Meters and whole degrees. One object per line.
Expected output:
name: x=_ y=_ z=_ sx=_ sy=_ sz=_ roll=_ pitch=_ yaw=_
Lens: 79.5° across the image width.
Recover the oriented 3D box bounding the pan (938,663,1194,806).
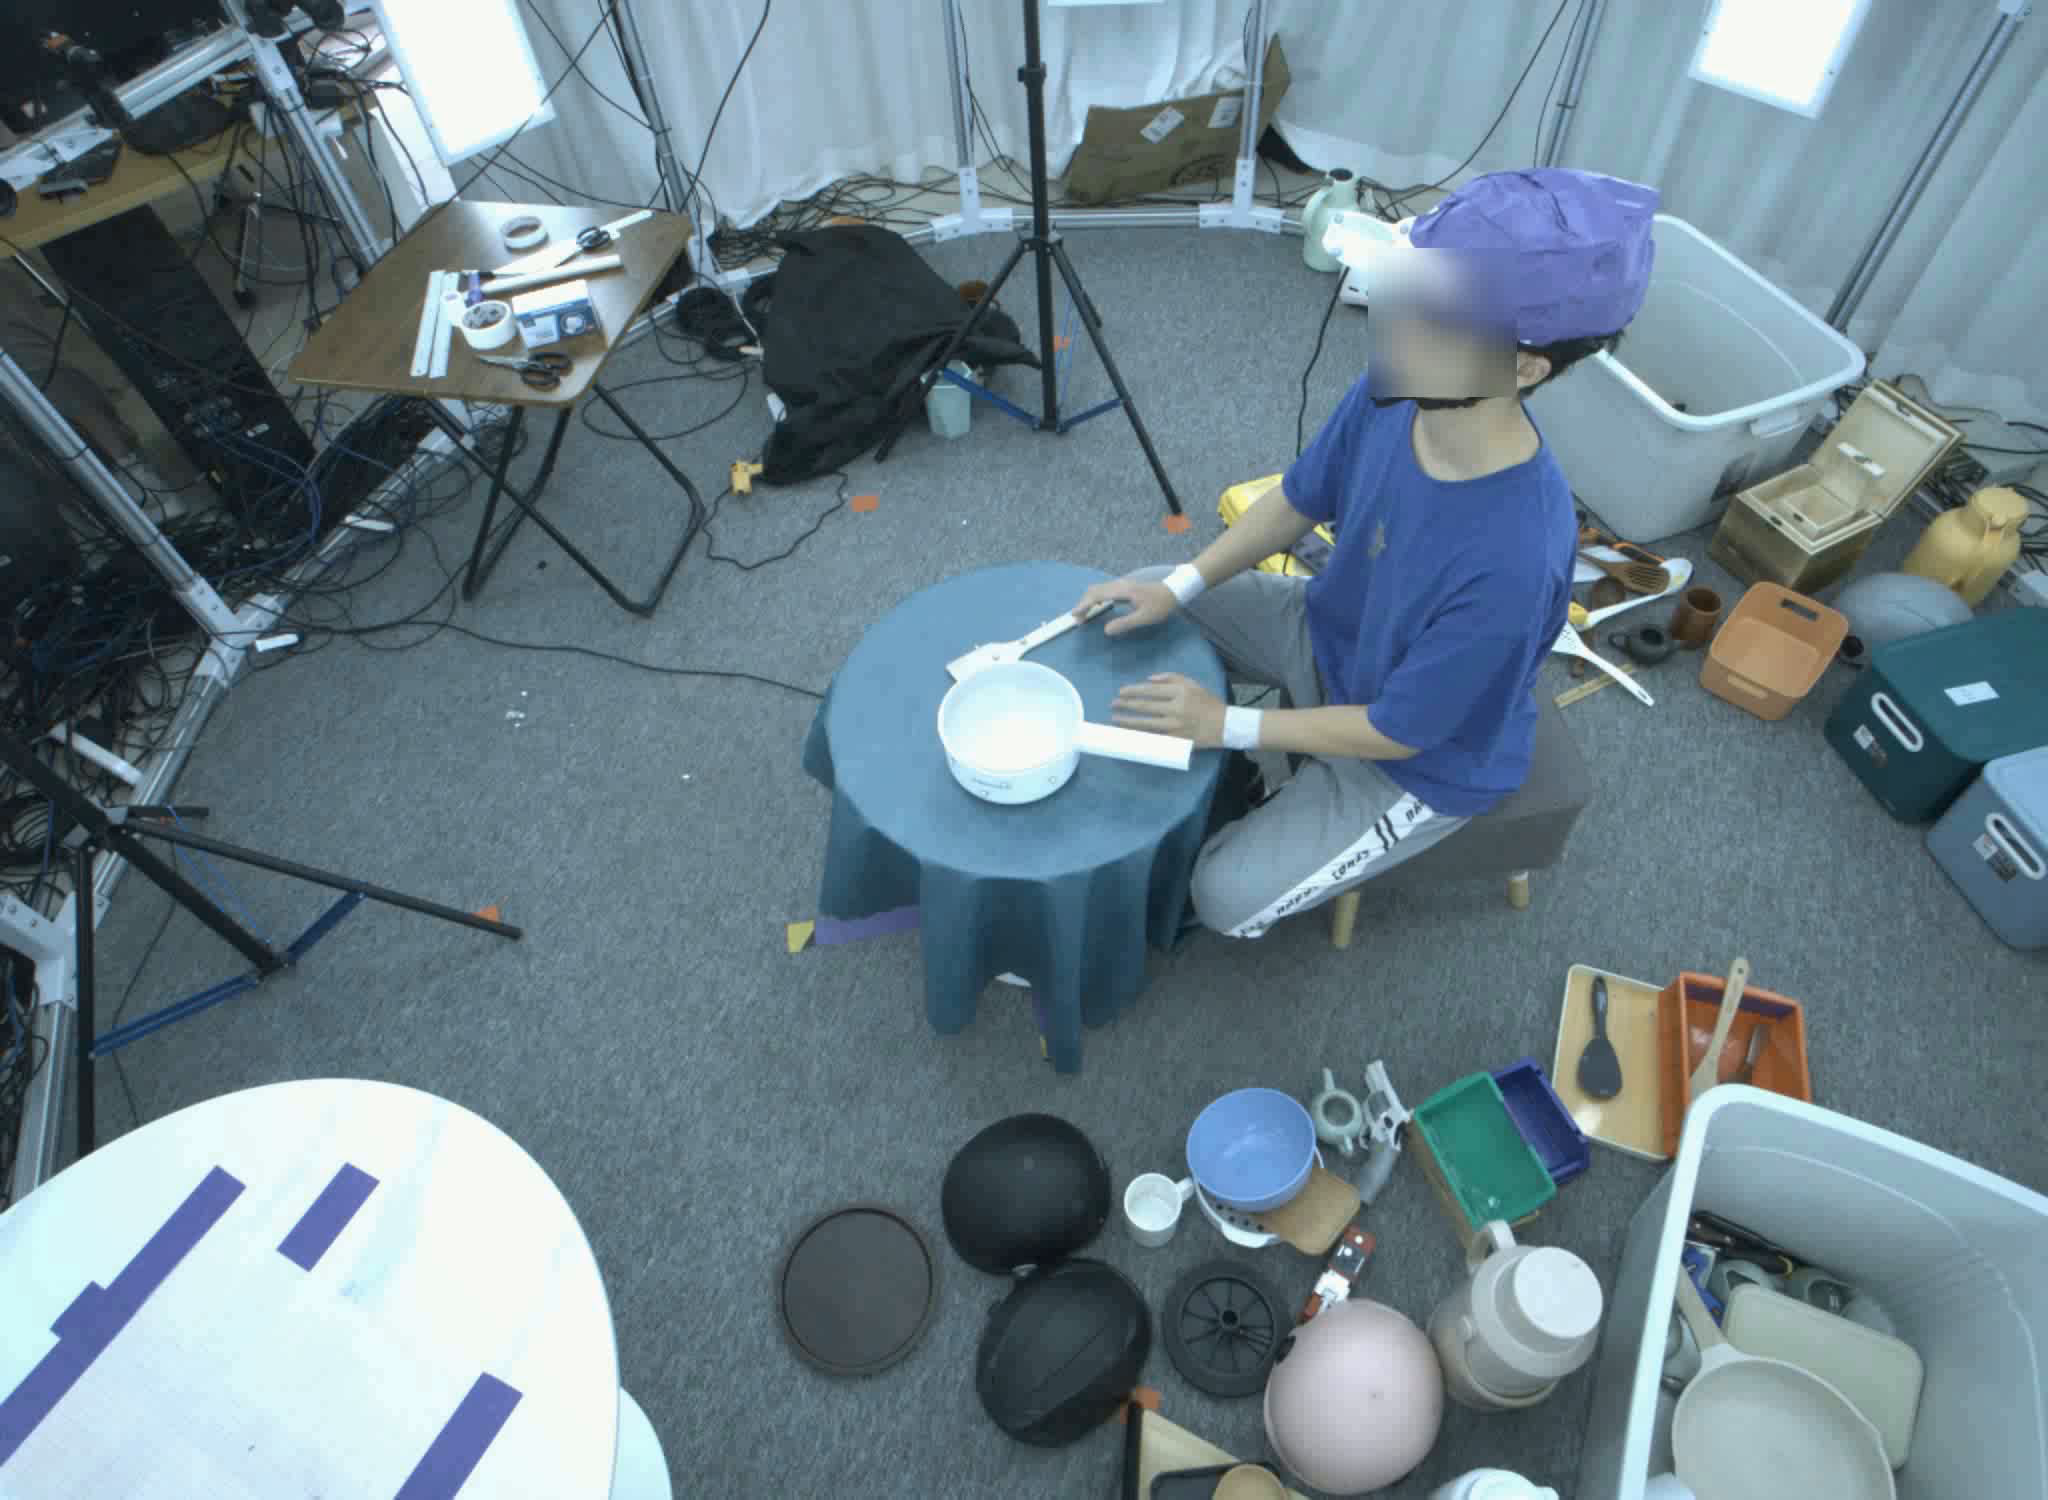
pan: x=0.058 y=-0.004 z=1.719 sx=0.352 sy=0.103 sz=0.200 roll=10 pitch=53 yaw=10

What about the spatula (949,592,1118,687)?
spatula: x=0.022 y=-0.174 z=1.897 sx=0.295 sy=0.011 sz=0.071 roll=-30 pitch=58 yaw=-18
